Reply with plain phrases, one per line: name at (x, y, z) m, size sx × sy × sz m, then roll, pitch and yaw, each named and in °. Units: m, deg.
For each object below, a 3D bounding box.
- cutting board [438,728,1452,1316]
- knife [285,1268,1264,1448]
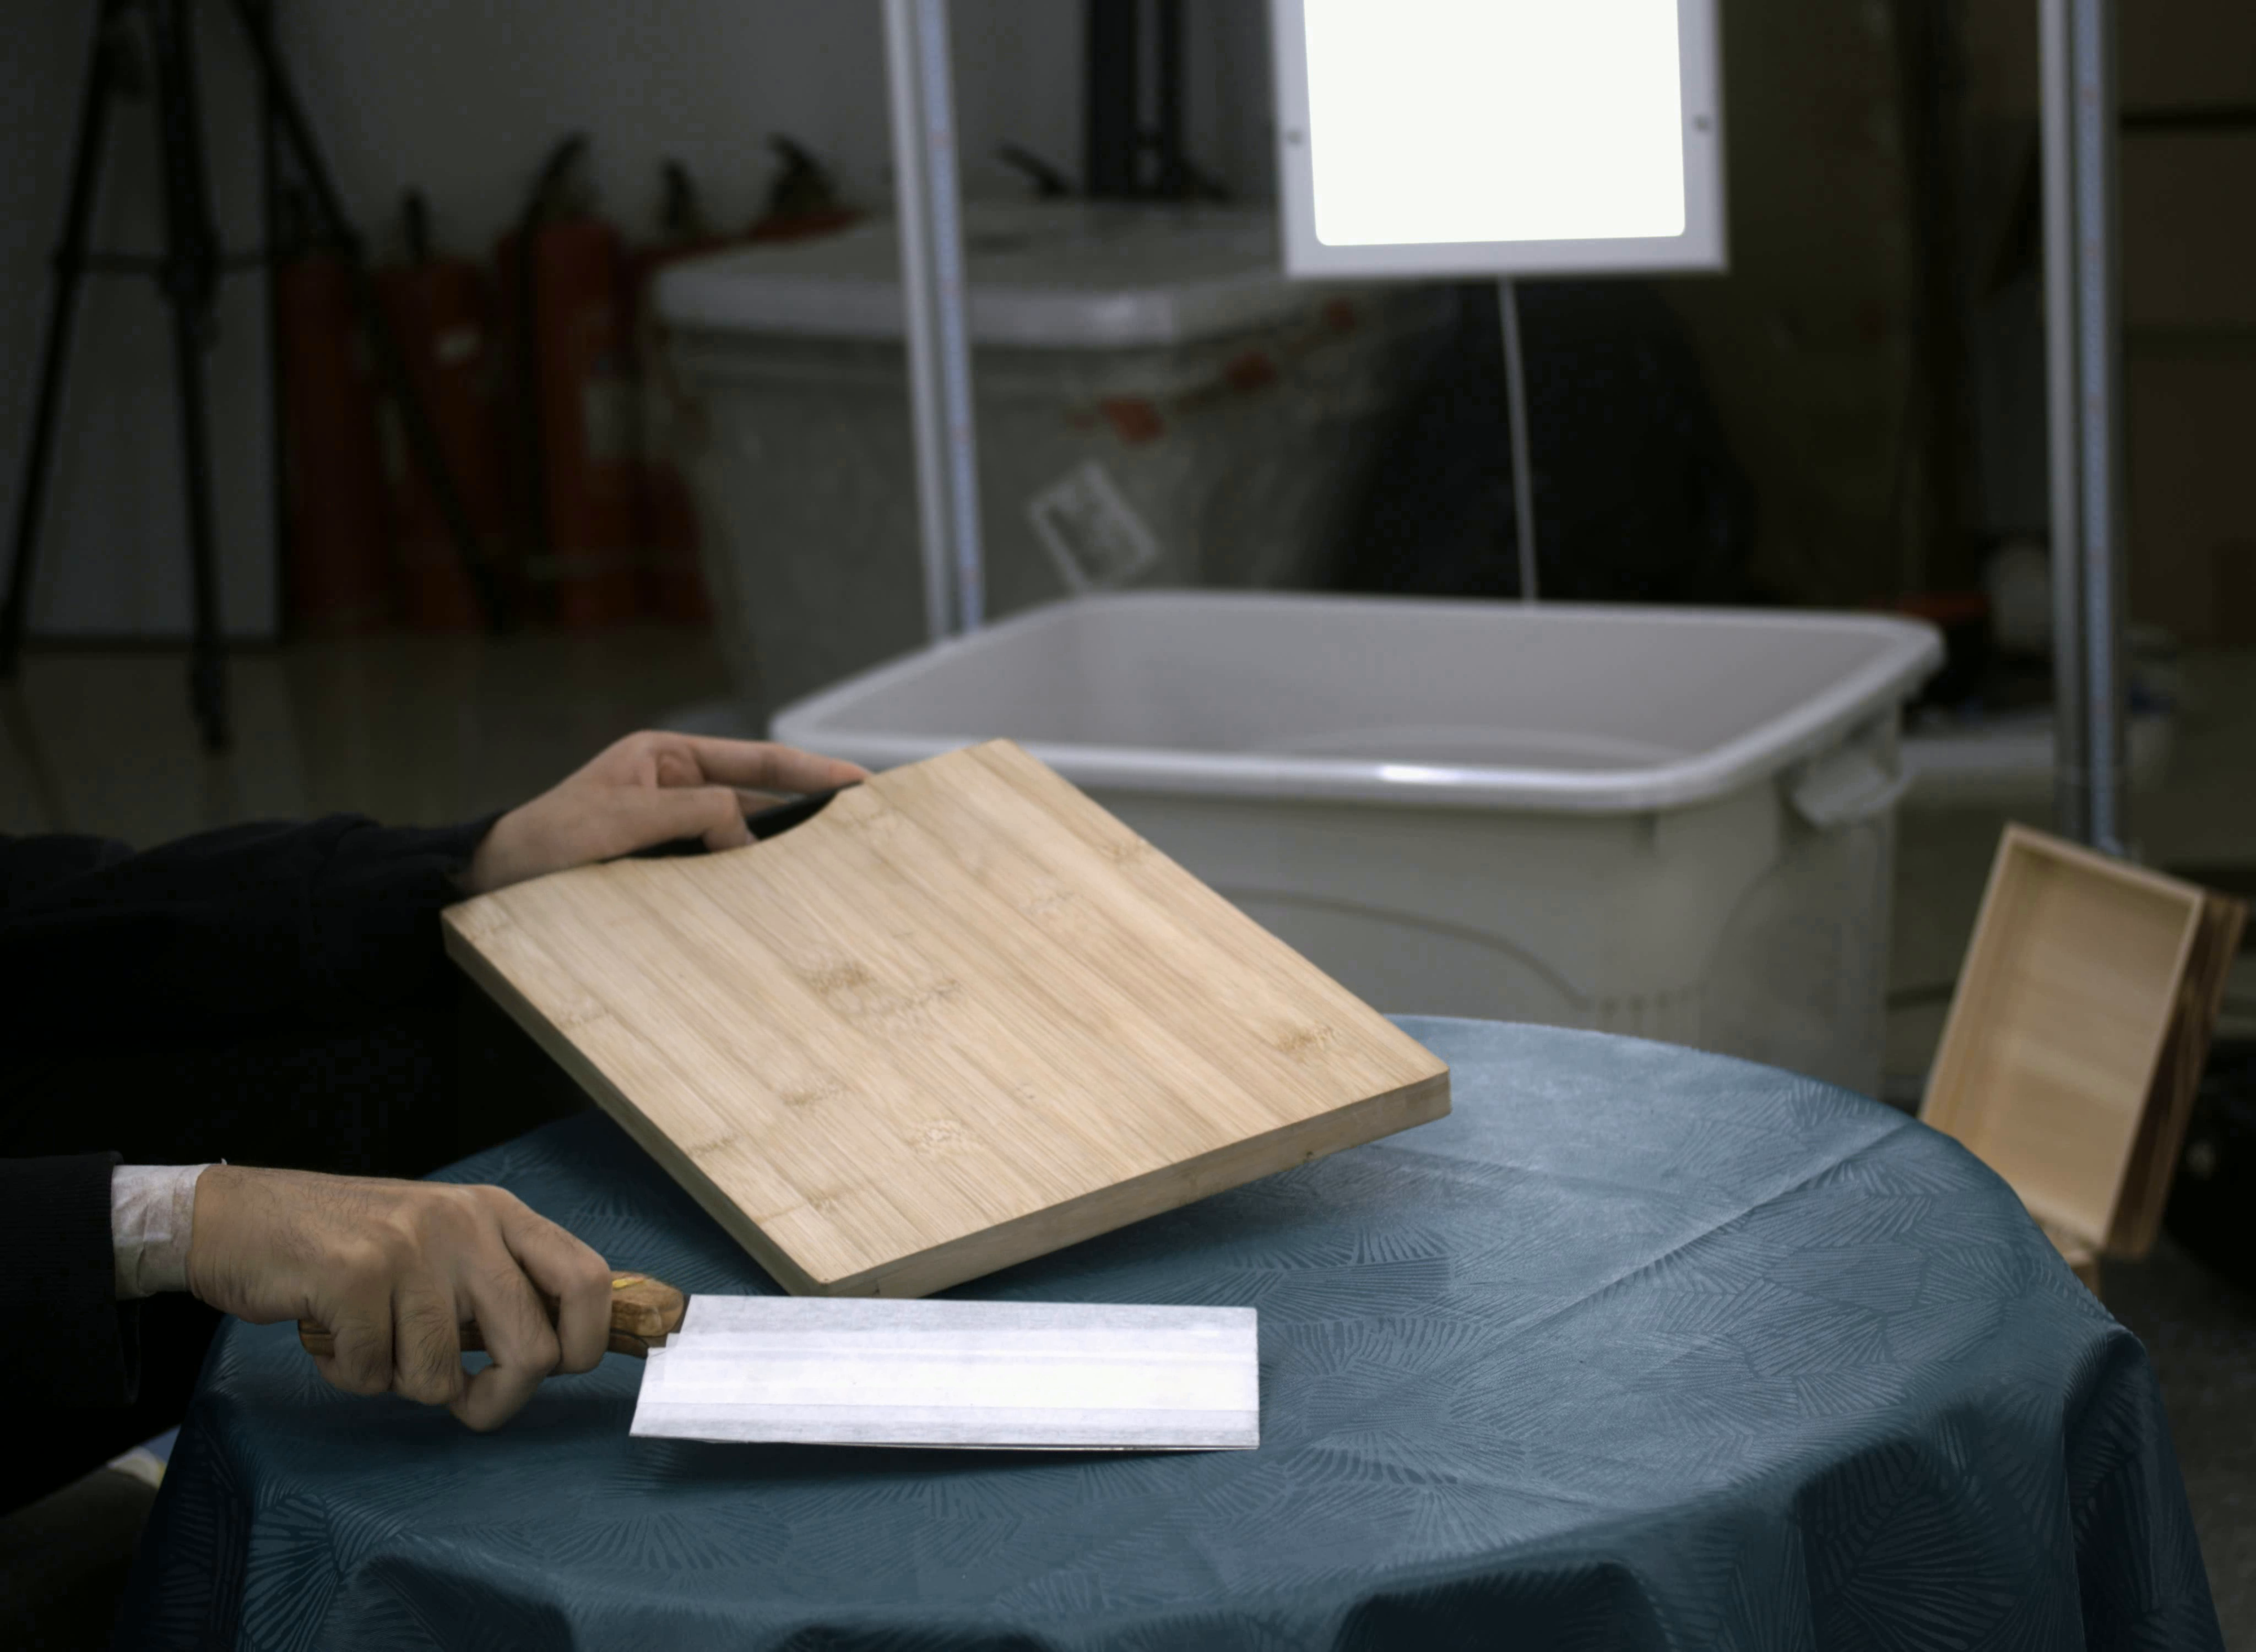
cutting board at (-0.074, 0.063, 1.968) m, size 0.246 × 0.023 × 0.354 m, roll -19°, pitch 28°, yaw -22°
knife at (-0.111, 0.165, 1.692) m, size 0.305 × 0.021 × 0.092 m, roll 1°, pitch 24°, yaw 3°
